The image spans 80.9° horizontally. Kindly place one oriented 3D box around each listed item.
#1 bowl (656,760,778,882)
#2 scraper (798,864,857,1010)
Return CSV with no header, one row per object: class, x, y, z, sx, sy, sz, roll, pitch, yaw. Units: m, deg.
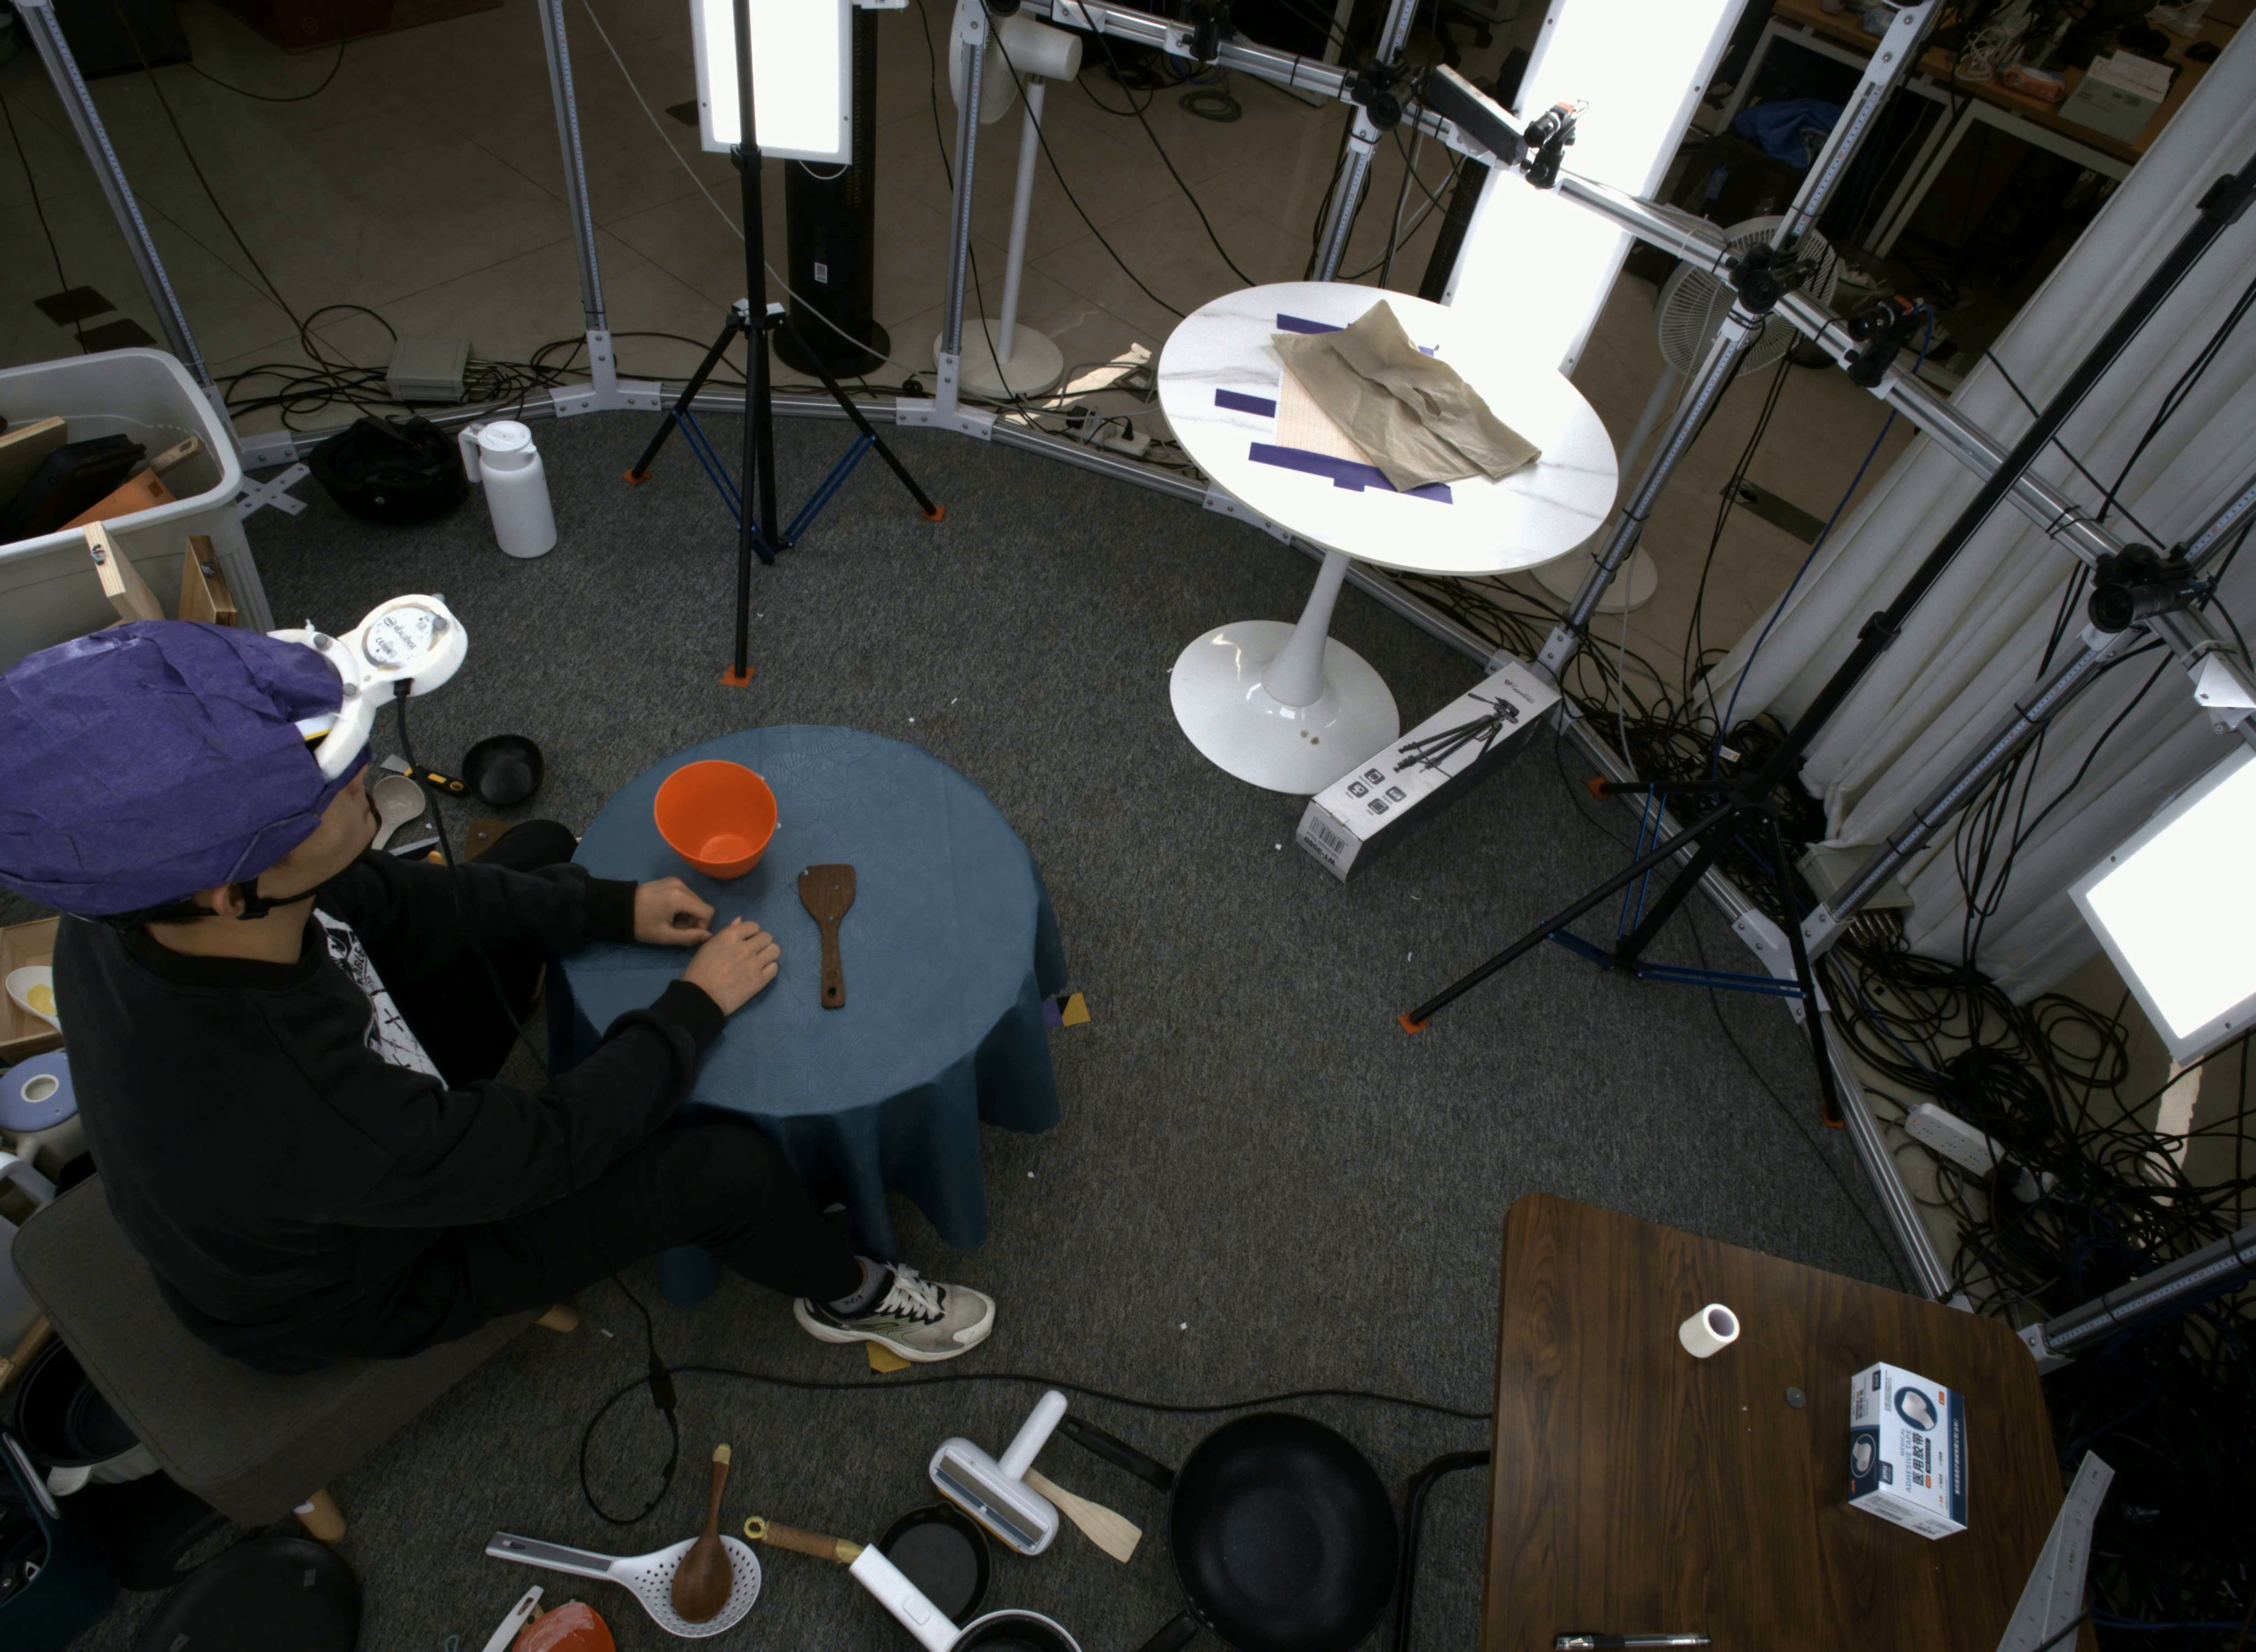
bowl,-0.517,0.004,1.637,0.148,0.107,0.145,8,52,-8
scraper,-0.374,0.136,1.636,0.076,0.011,0.207,-2,55,-14
